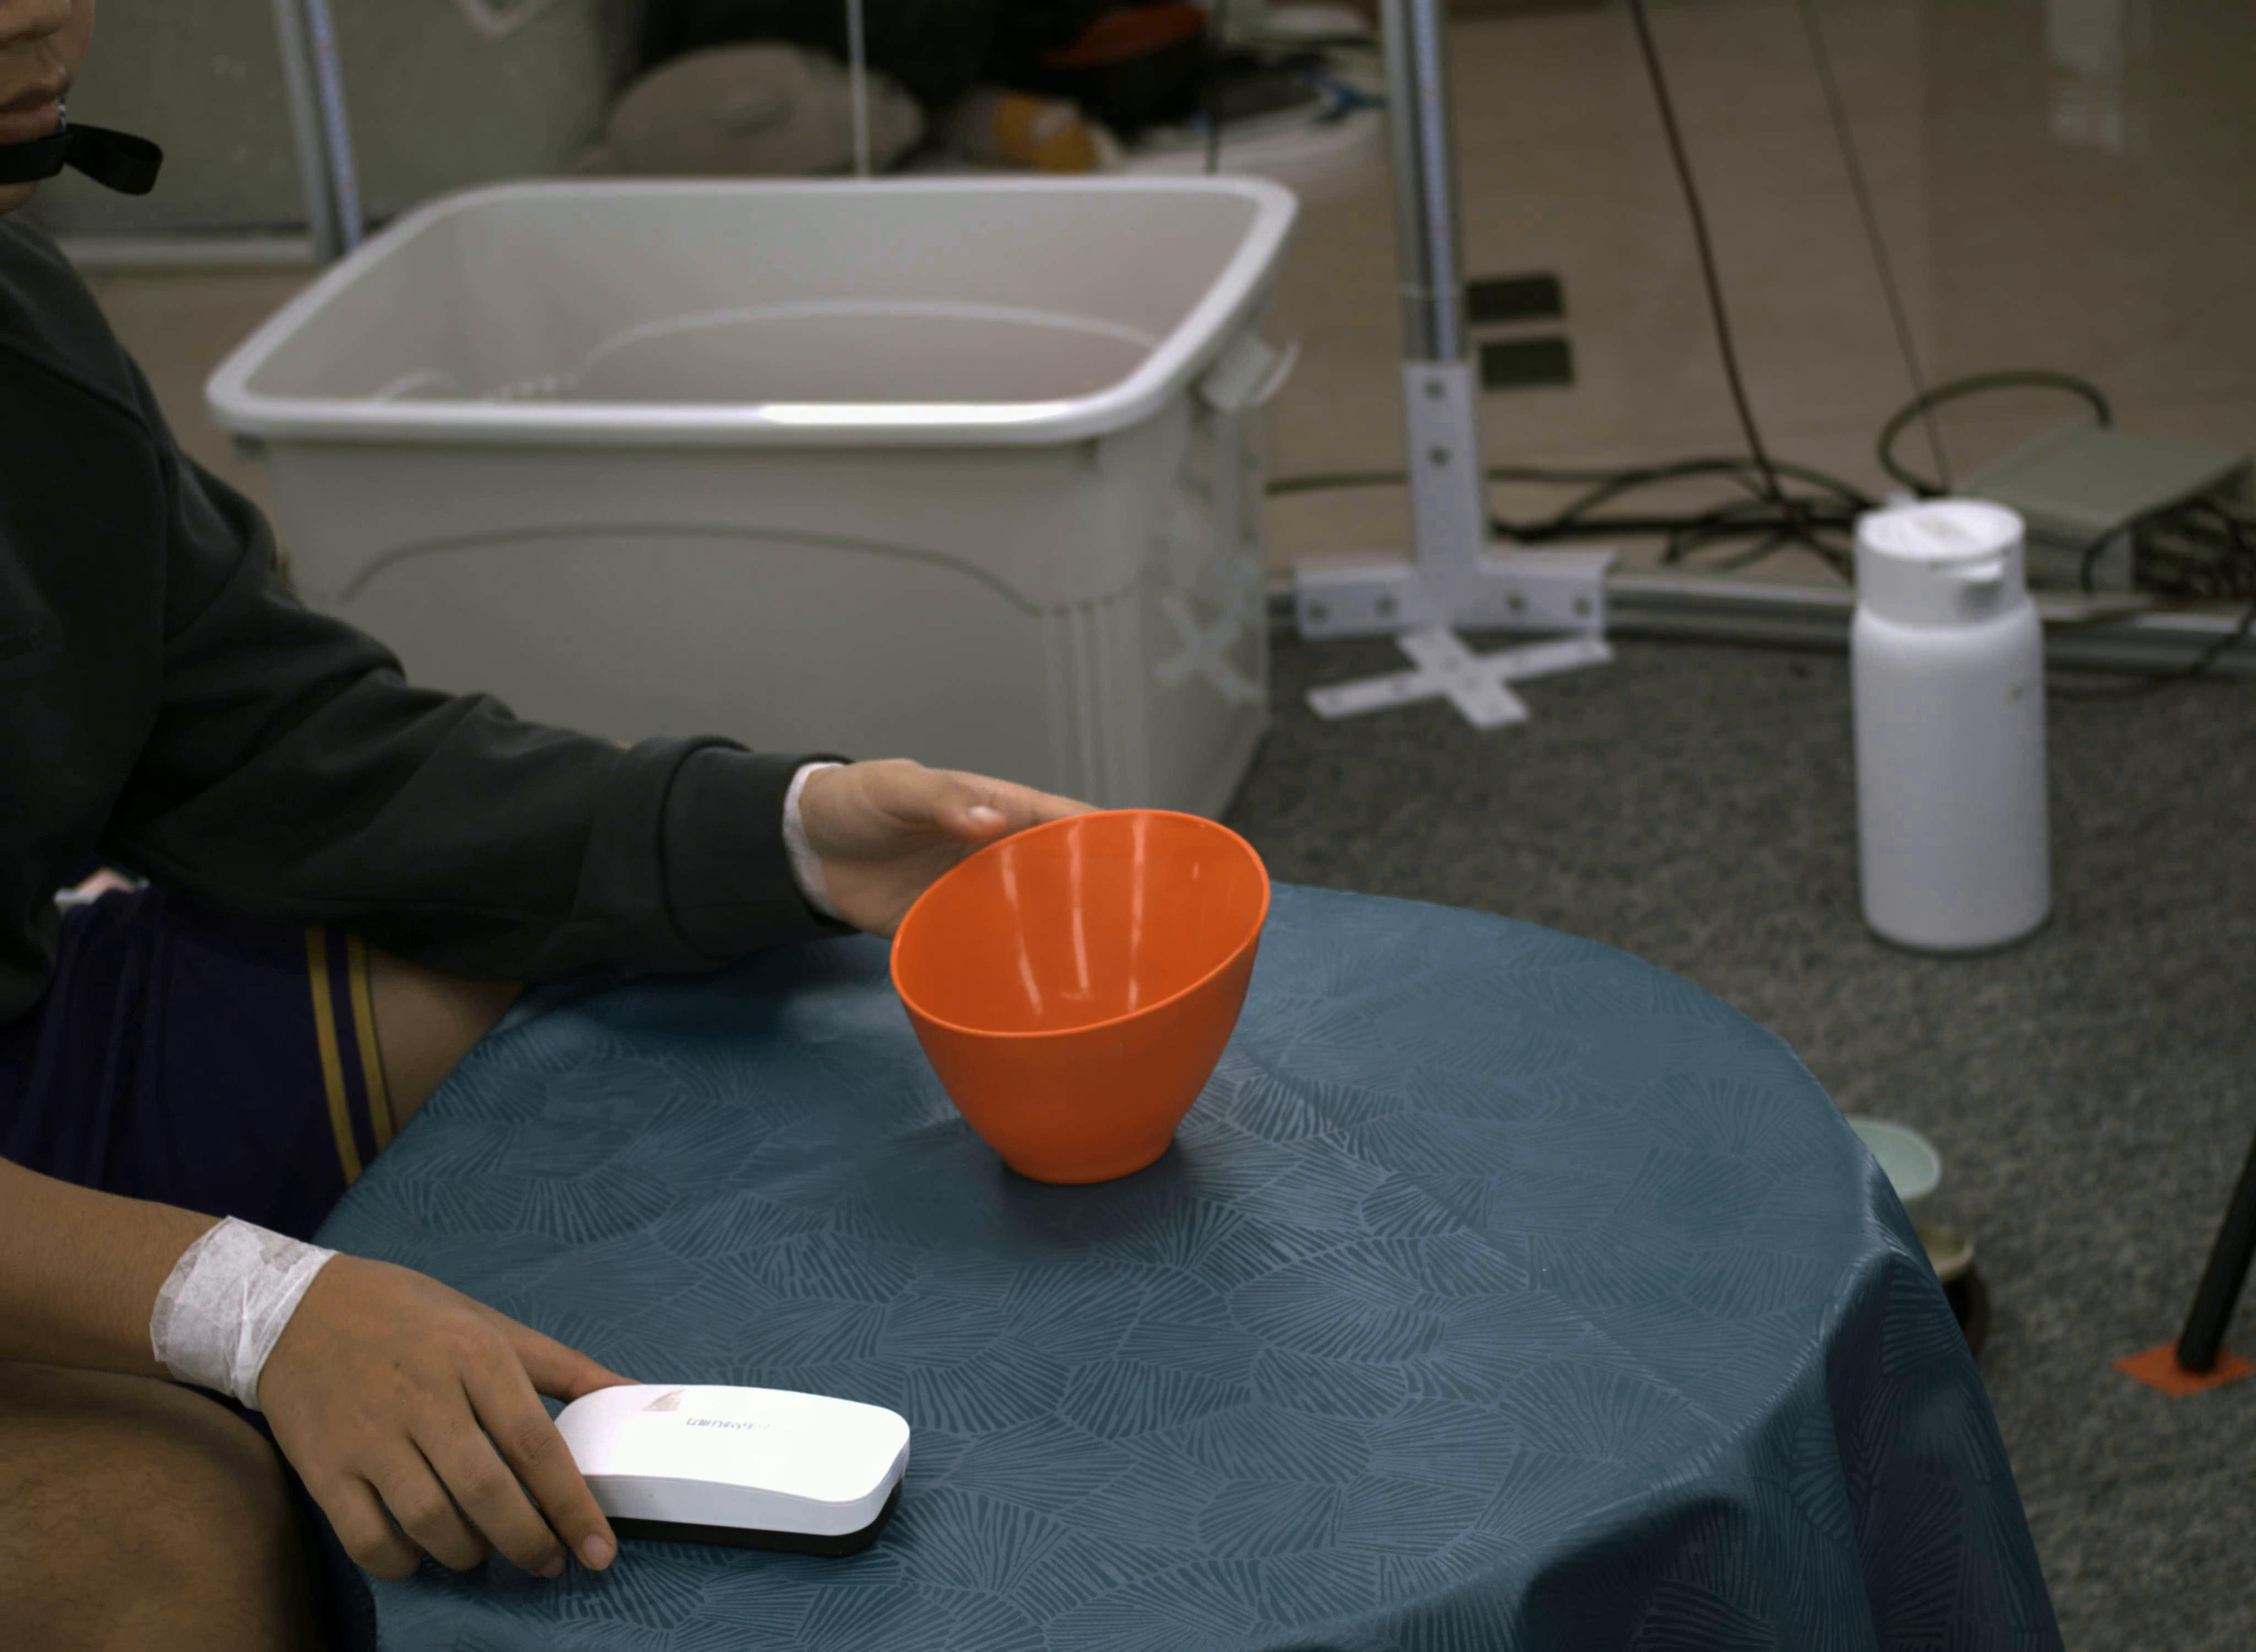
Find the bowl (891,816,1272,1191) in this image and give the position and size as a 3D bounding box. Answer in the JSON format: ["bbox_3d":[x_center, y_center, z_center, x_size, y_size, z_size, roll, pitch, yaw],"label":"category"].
[{"bbox_3d":[-0.013,0.074,2.170,0.148,0.106,0.146,-6,26,3],"label":"bowl"}]

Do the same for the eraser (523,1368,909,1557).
[{"bbox_3d":[-0.142,0.220,1.969,0.131,0.035,0.062,5,27,20],"label":"eraser"}]
